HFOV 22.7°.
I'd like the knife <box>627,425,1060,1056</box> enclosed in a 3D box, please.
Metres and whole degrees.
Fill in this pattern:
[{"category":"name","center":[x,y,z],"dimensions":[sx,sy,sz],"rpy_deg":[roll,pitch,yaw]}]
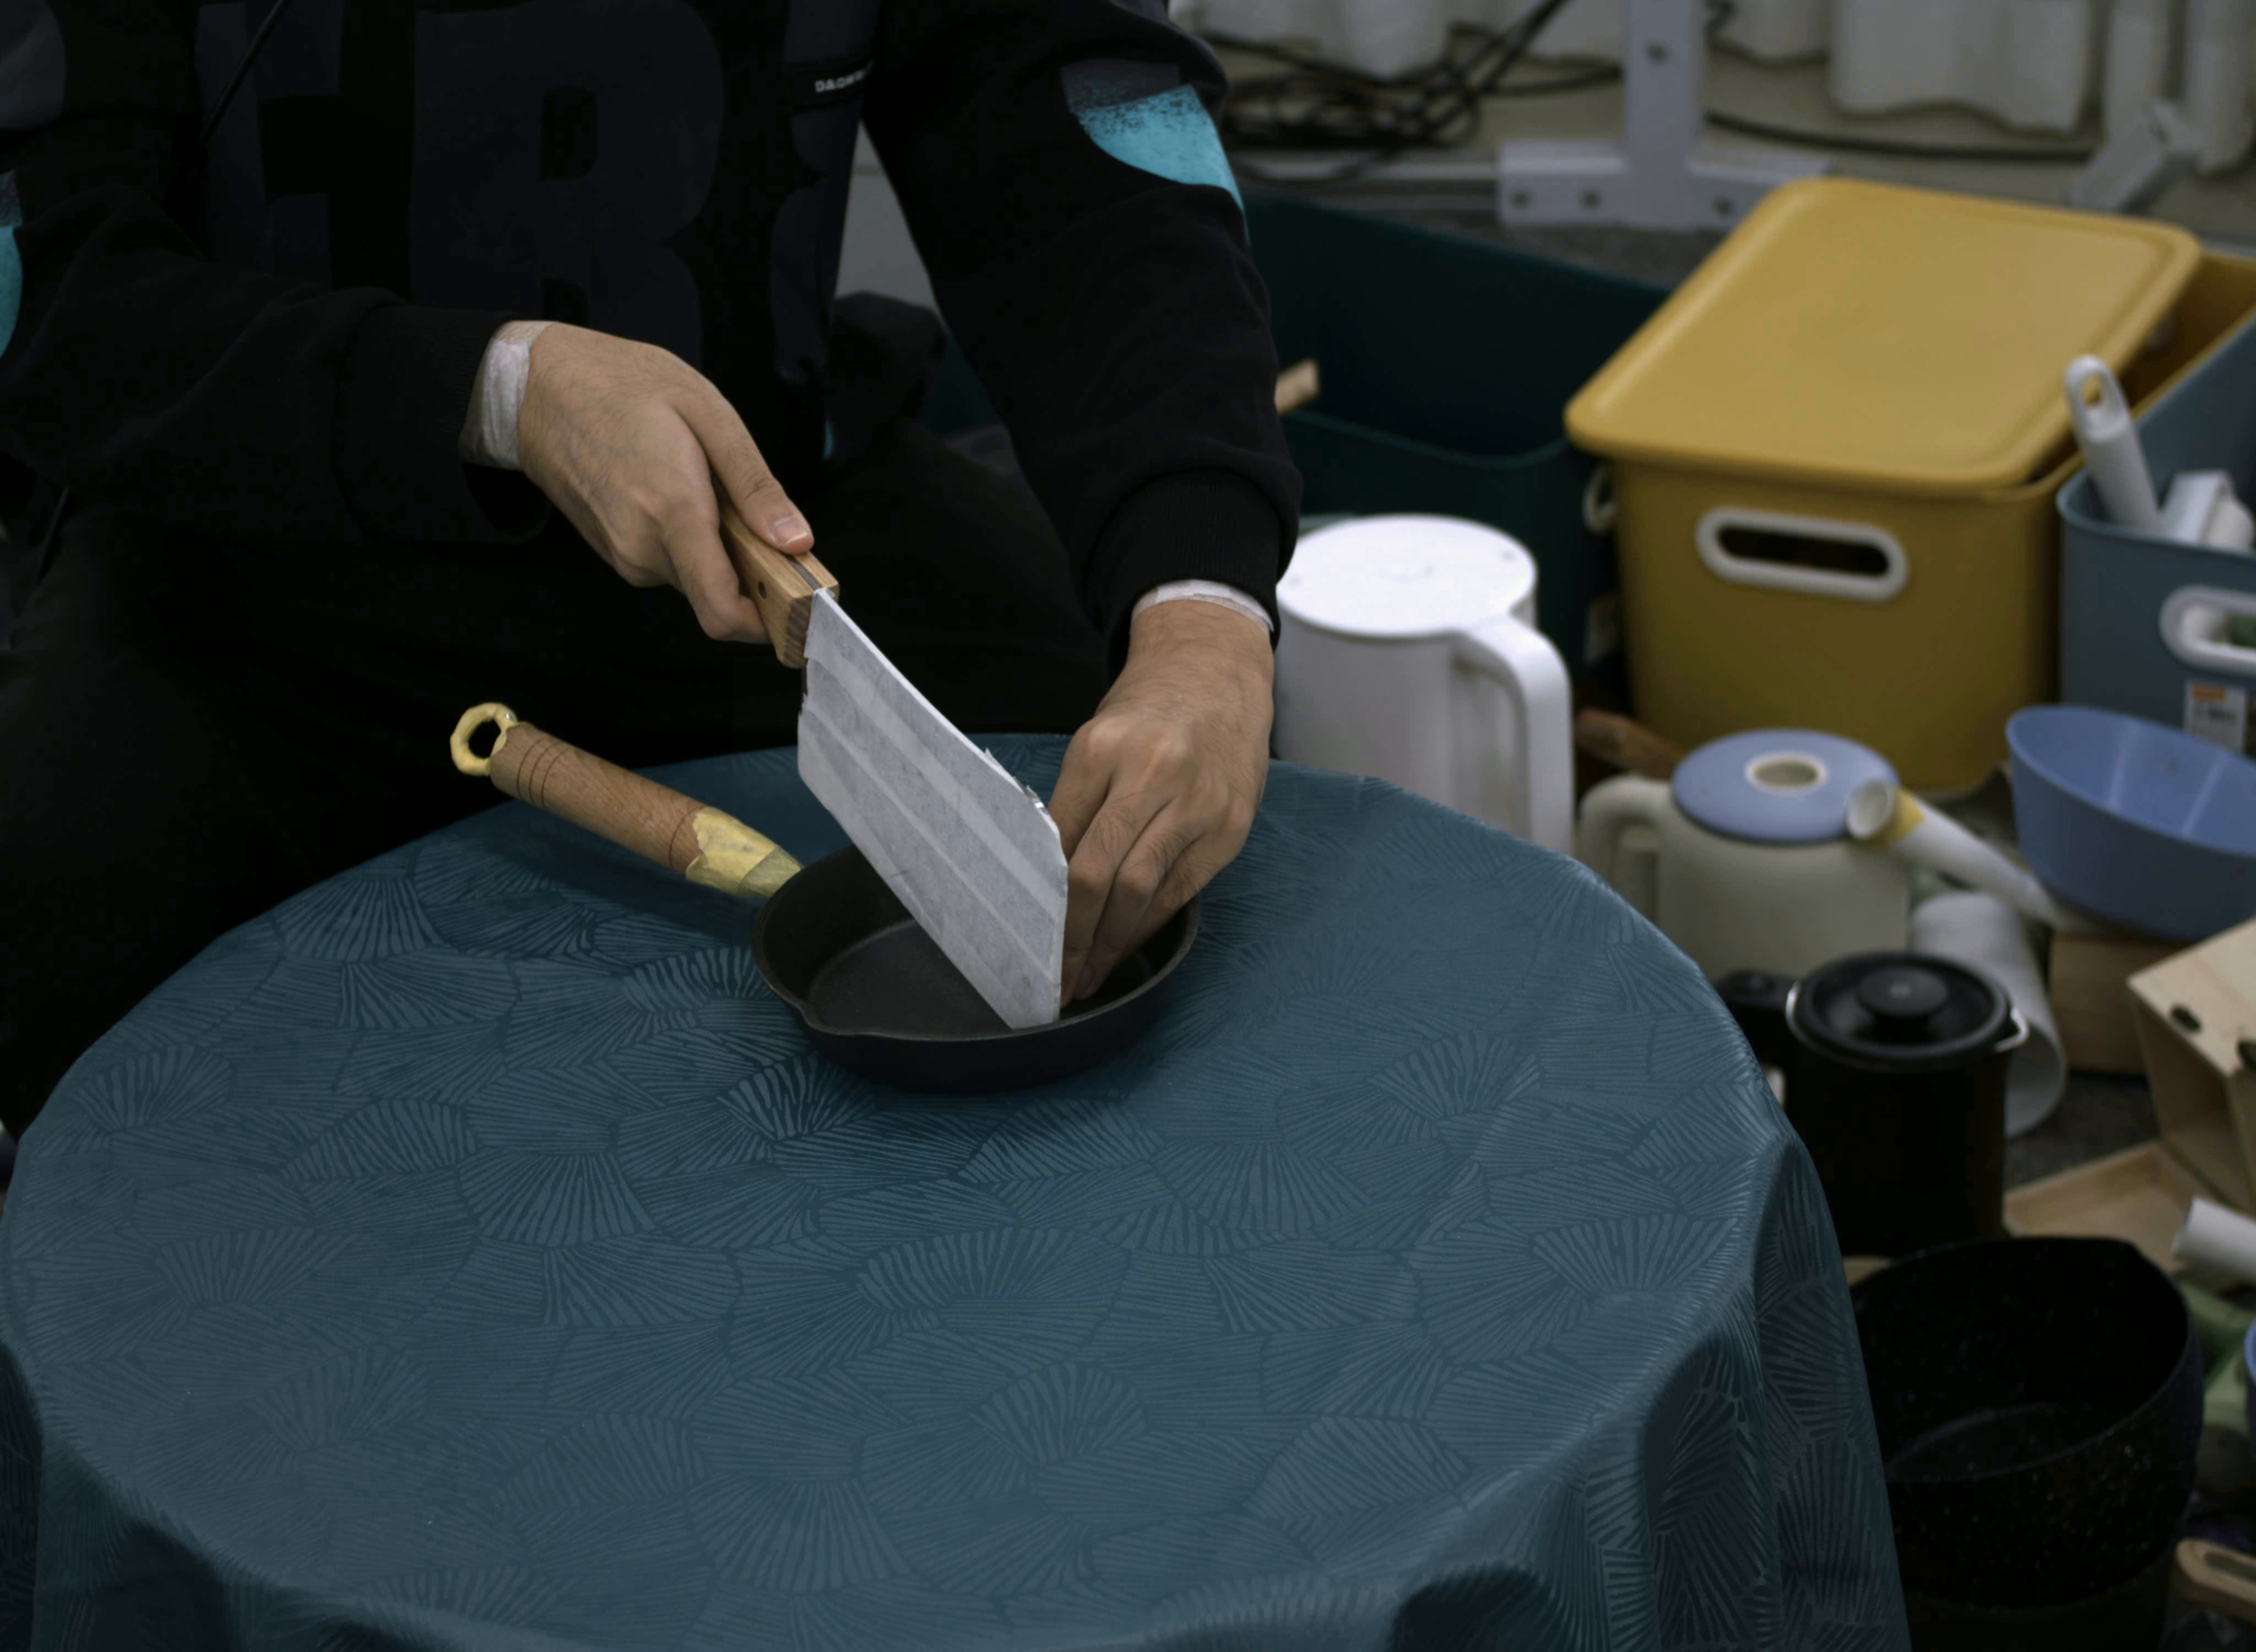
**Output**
[{"category":"knife","center":[-0.100,-0.044,1.998],"dimensions":[0.022,0.112,0.318],"rpy_deg":[-15,45,-27]}]

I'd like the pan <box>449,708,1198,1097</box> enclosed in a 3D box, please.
[{"category":"pan","center":[-0.120,0.021,2.014],"dimensions":[0.323,0.049,0.171],"rpy_deg":[19,34,34]}]
